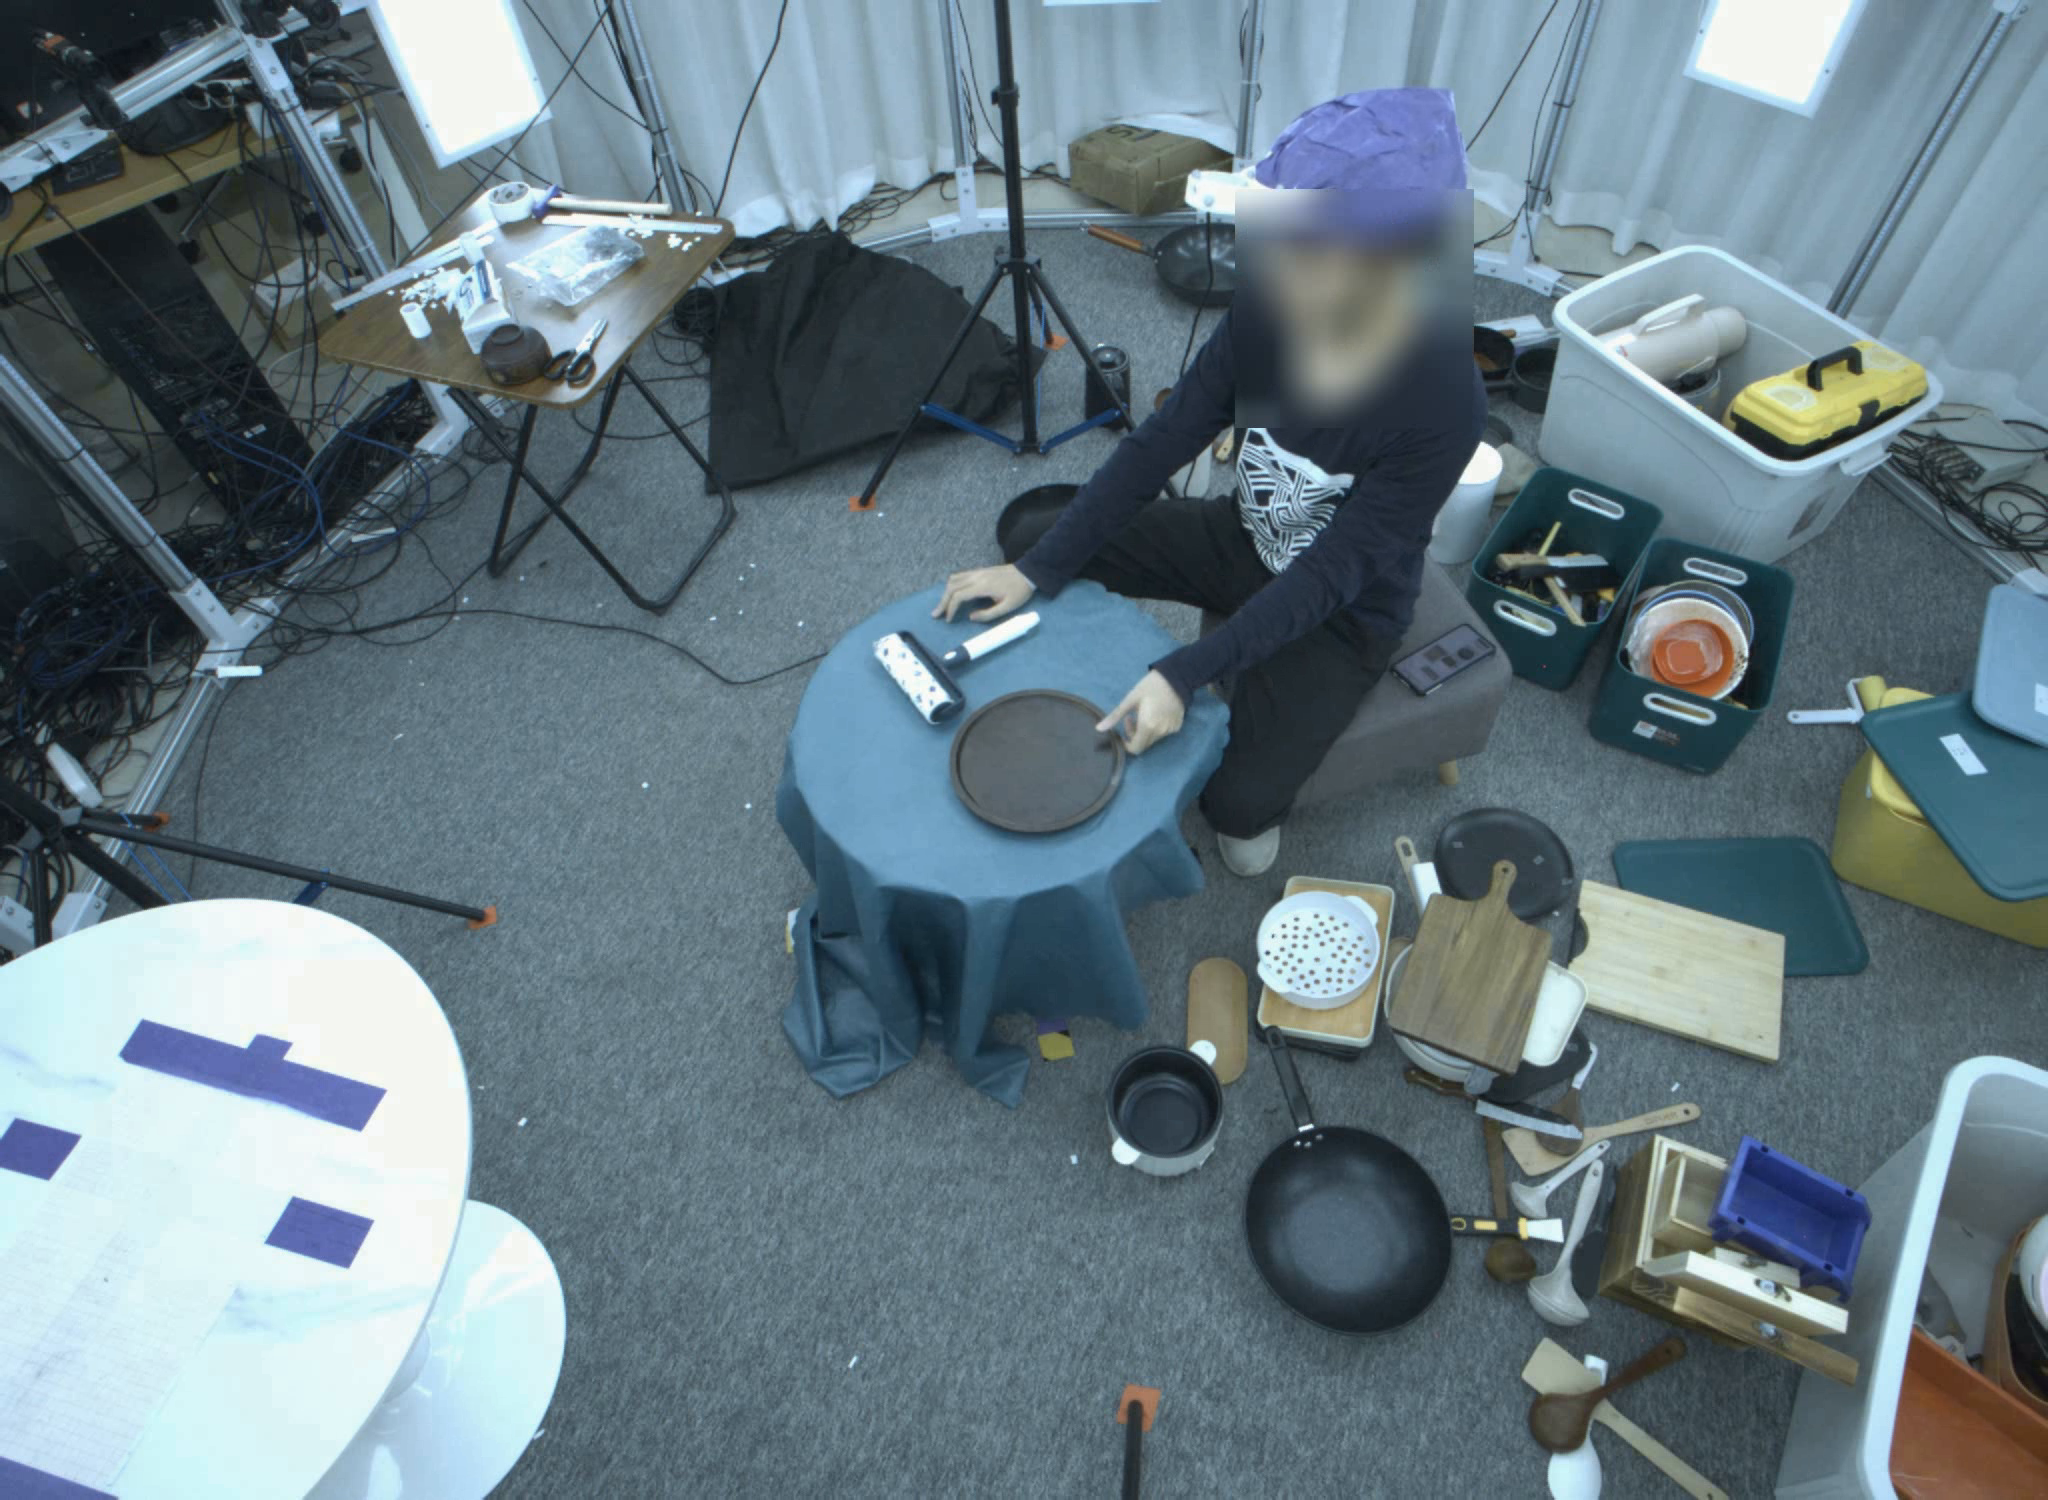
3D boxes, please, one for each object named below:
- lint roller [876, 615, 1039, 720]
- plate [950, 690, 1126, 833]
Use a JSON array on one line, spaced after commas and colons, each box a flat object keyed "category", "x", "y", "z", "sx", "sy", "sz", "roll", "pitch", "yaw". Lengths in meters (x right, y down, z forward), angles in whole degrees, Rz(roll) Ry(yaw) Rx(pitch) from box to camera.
[{"category": "lint roller", "x": -0.083, "y": -0.157, "z": 1.884, "sx": 0.249, "sy": 0.051, "sz": 0.173, "roll": -29, "pitch": 57, "yaw": -21}, {"category": "plate", "x": 0.020, "y": 0.014, "z": 1.771, "sx": 0.255, "sy": 0.029, "sz": 0.252, "roll": 1, "pitch": 54, "yaw": 0}]
